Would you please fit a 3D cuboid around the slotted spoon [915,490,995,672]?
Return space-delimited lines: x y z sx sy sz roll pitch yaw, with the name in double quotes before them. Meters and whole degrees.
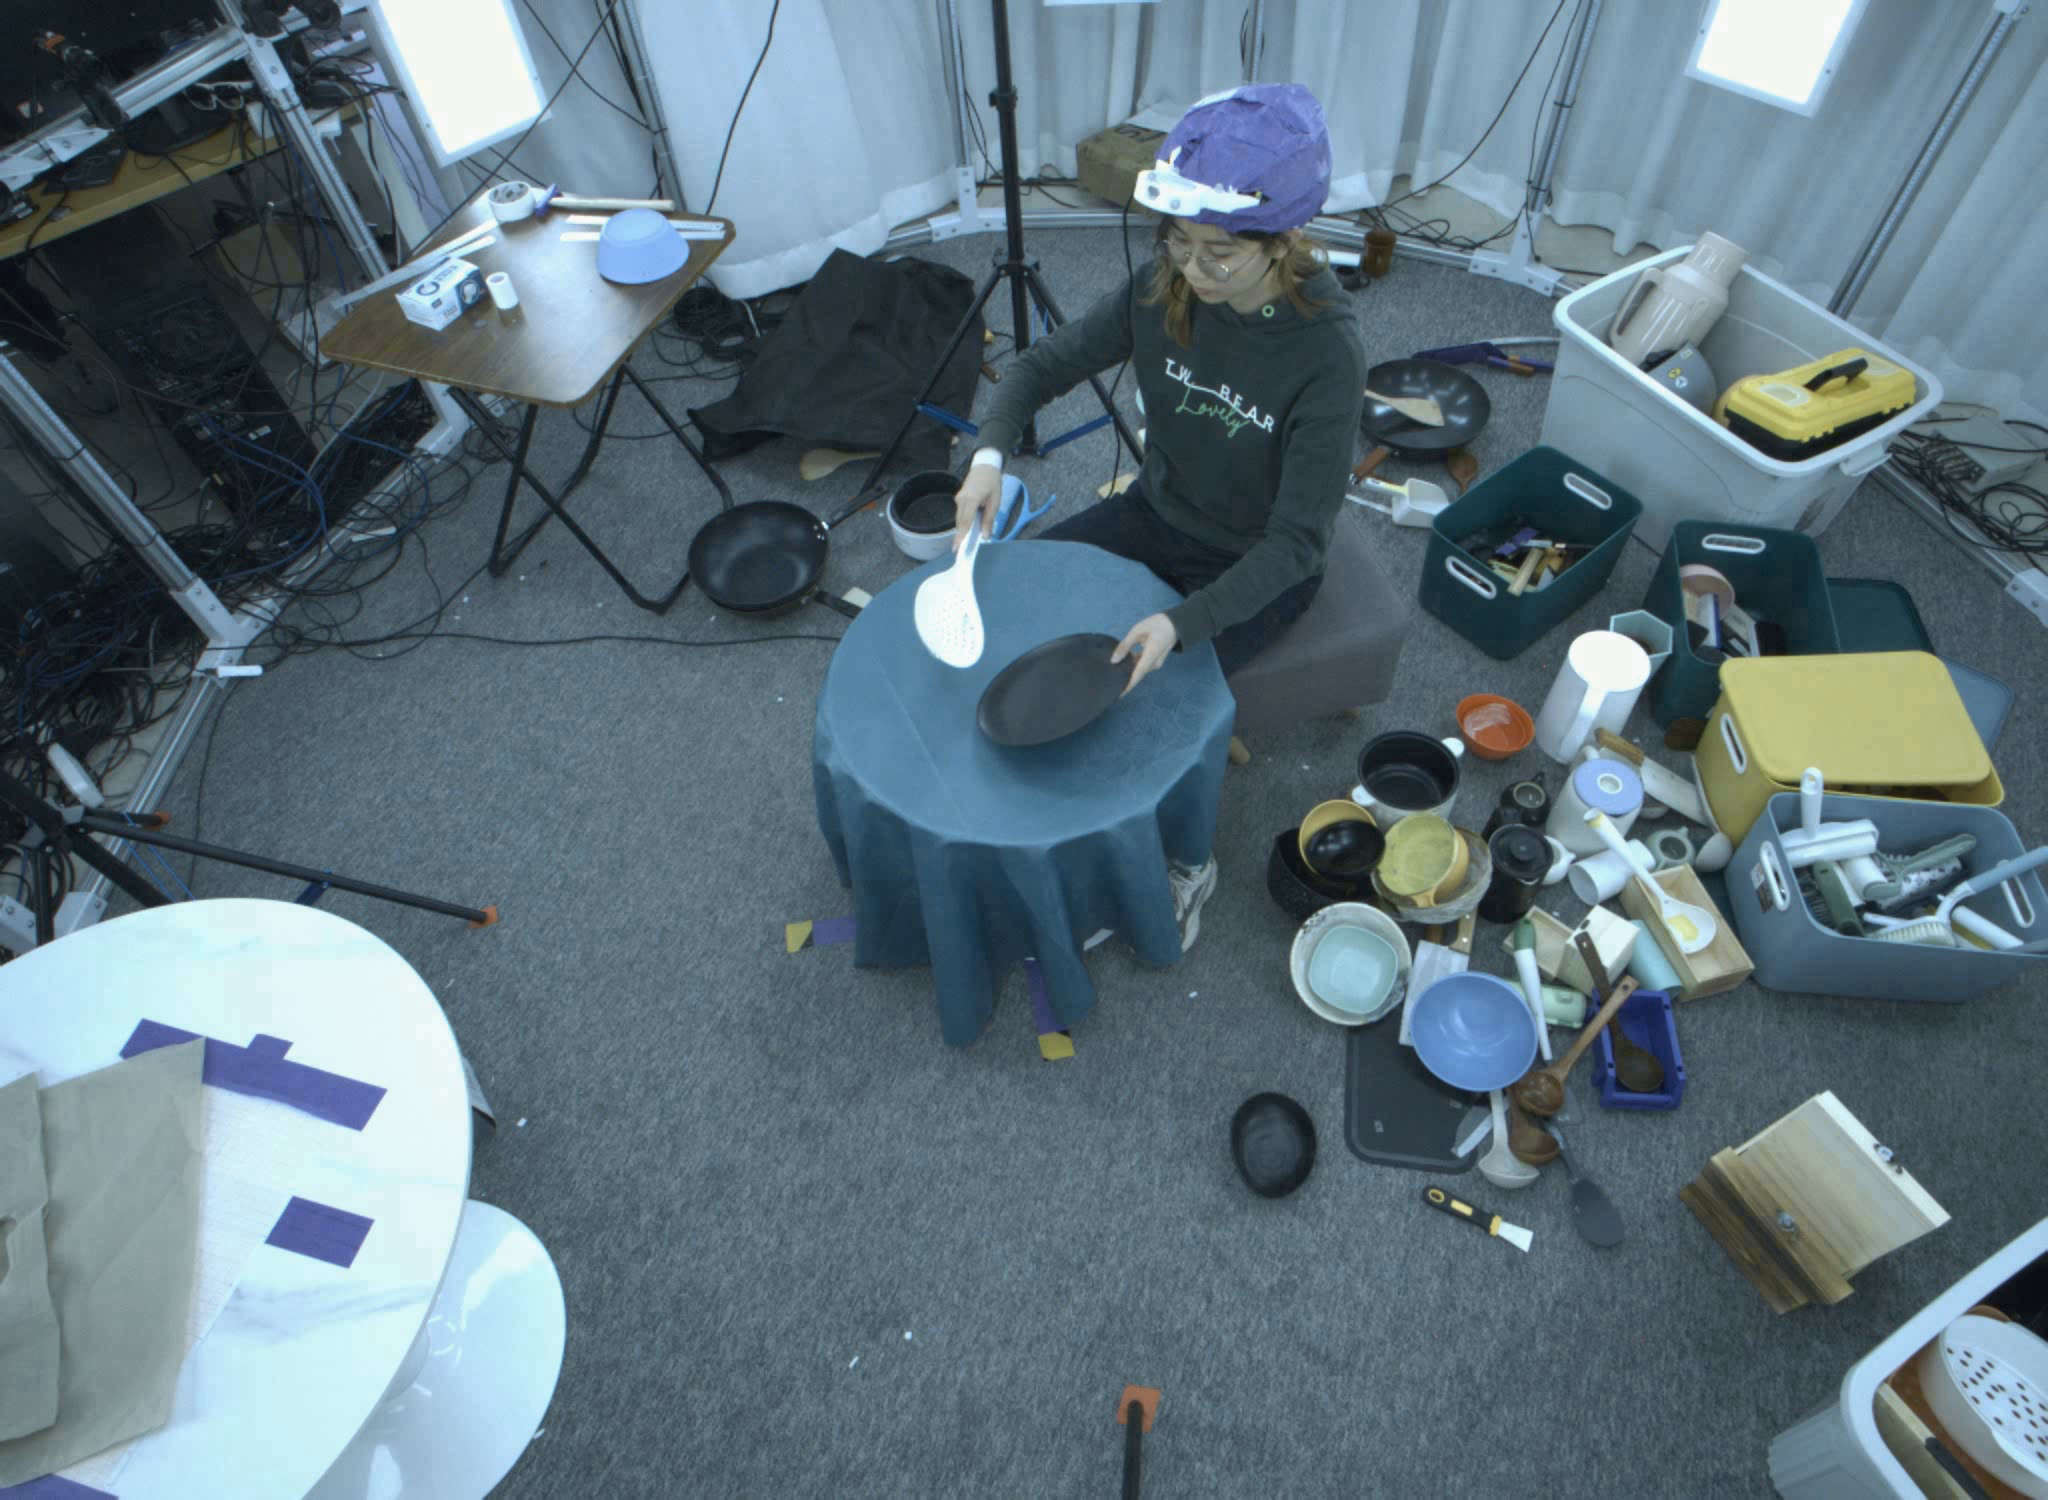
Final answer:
"slotted spoon" -0.090 -0.261 1.814 0.045 0.139 0.348 -13 48 39

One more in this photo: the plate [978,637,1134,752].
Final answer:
"plate" 0.048 -0.077 1.783 0.242 0.024 0.242 -17 38 15
